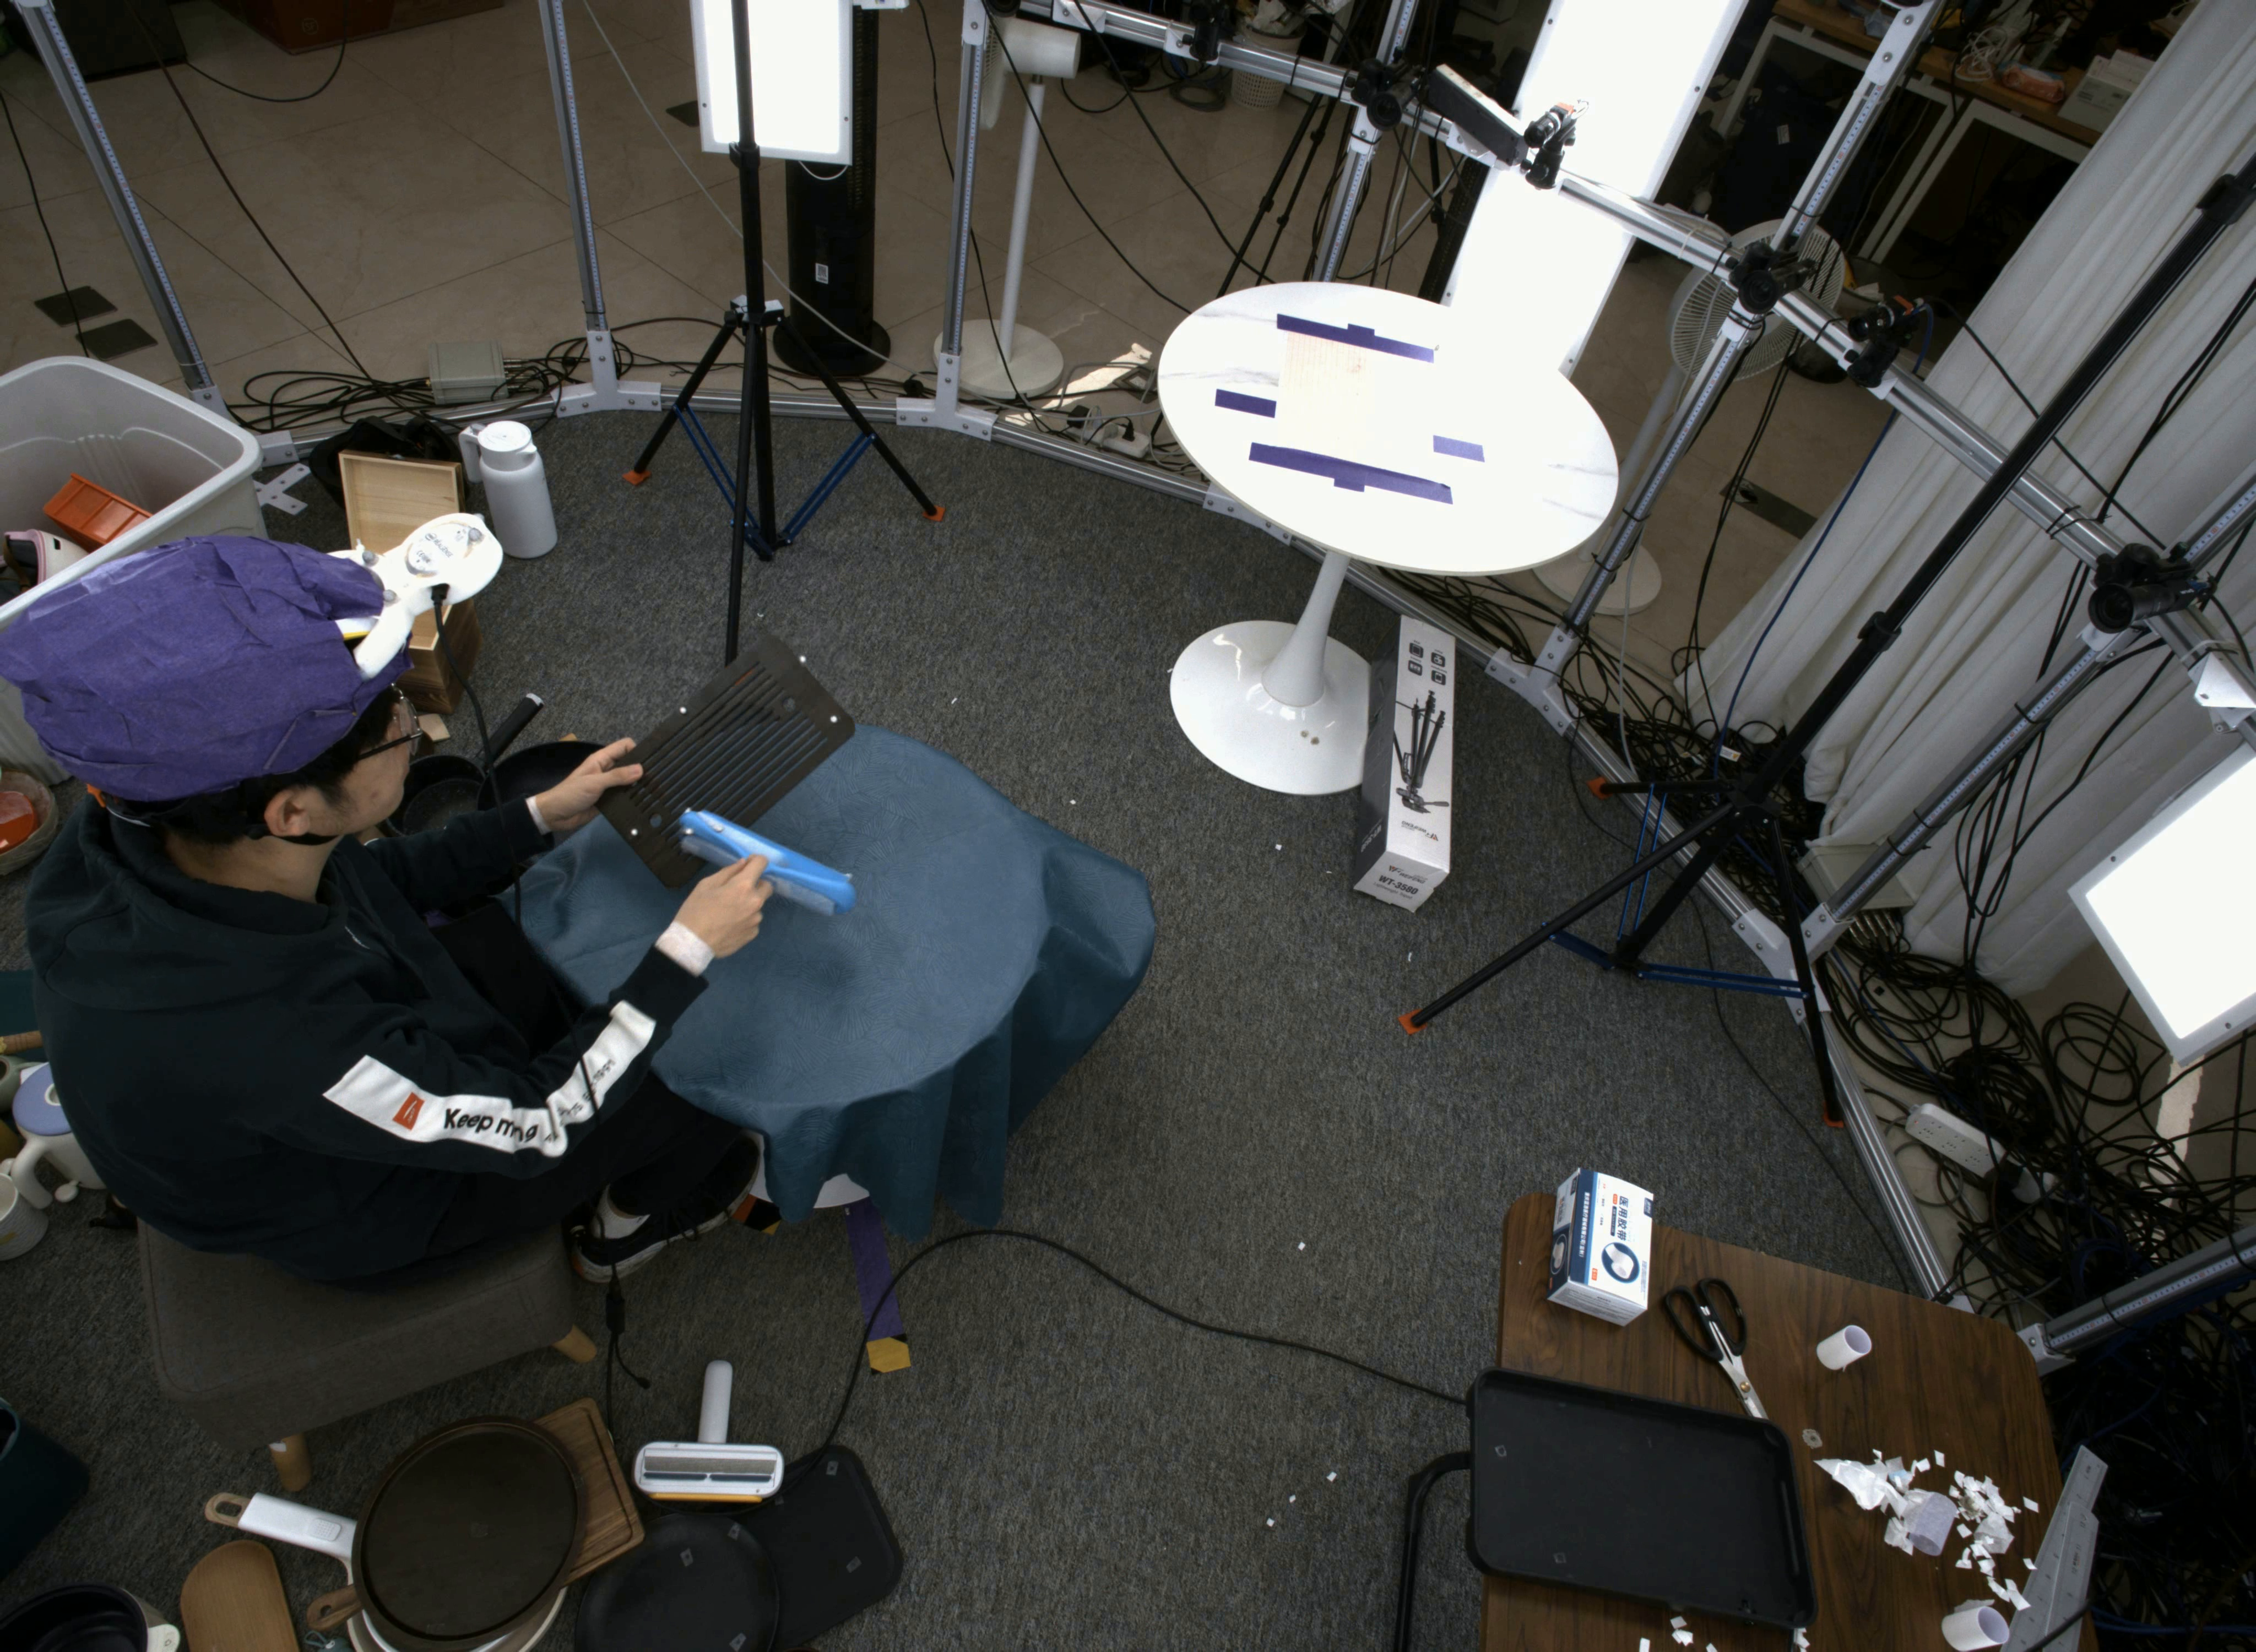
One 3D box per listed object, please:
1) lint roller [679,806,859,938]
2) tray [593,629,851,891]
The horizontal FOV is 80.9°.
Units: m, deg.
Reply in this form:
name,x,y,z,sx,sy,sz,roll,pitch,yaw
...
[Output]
name,x,y,z,sx,sy,sz,roll,pitch,yaw
lint roller,-0.433,0.062,1.500,0.230,0.069,0.177,26,22,-10
tray,-0.502,-0.082,1.586,0.306,0.018,0.170,-43,91,-6
